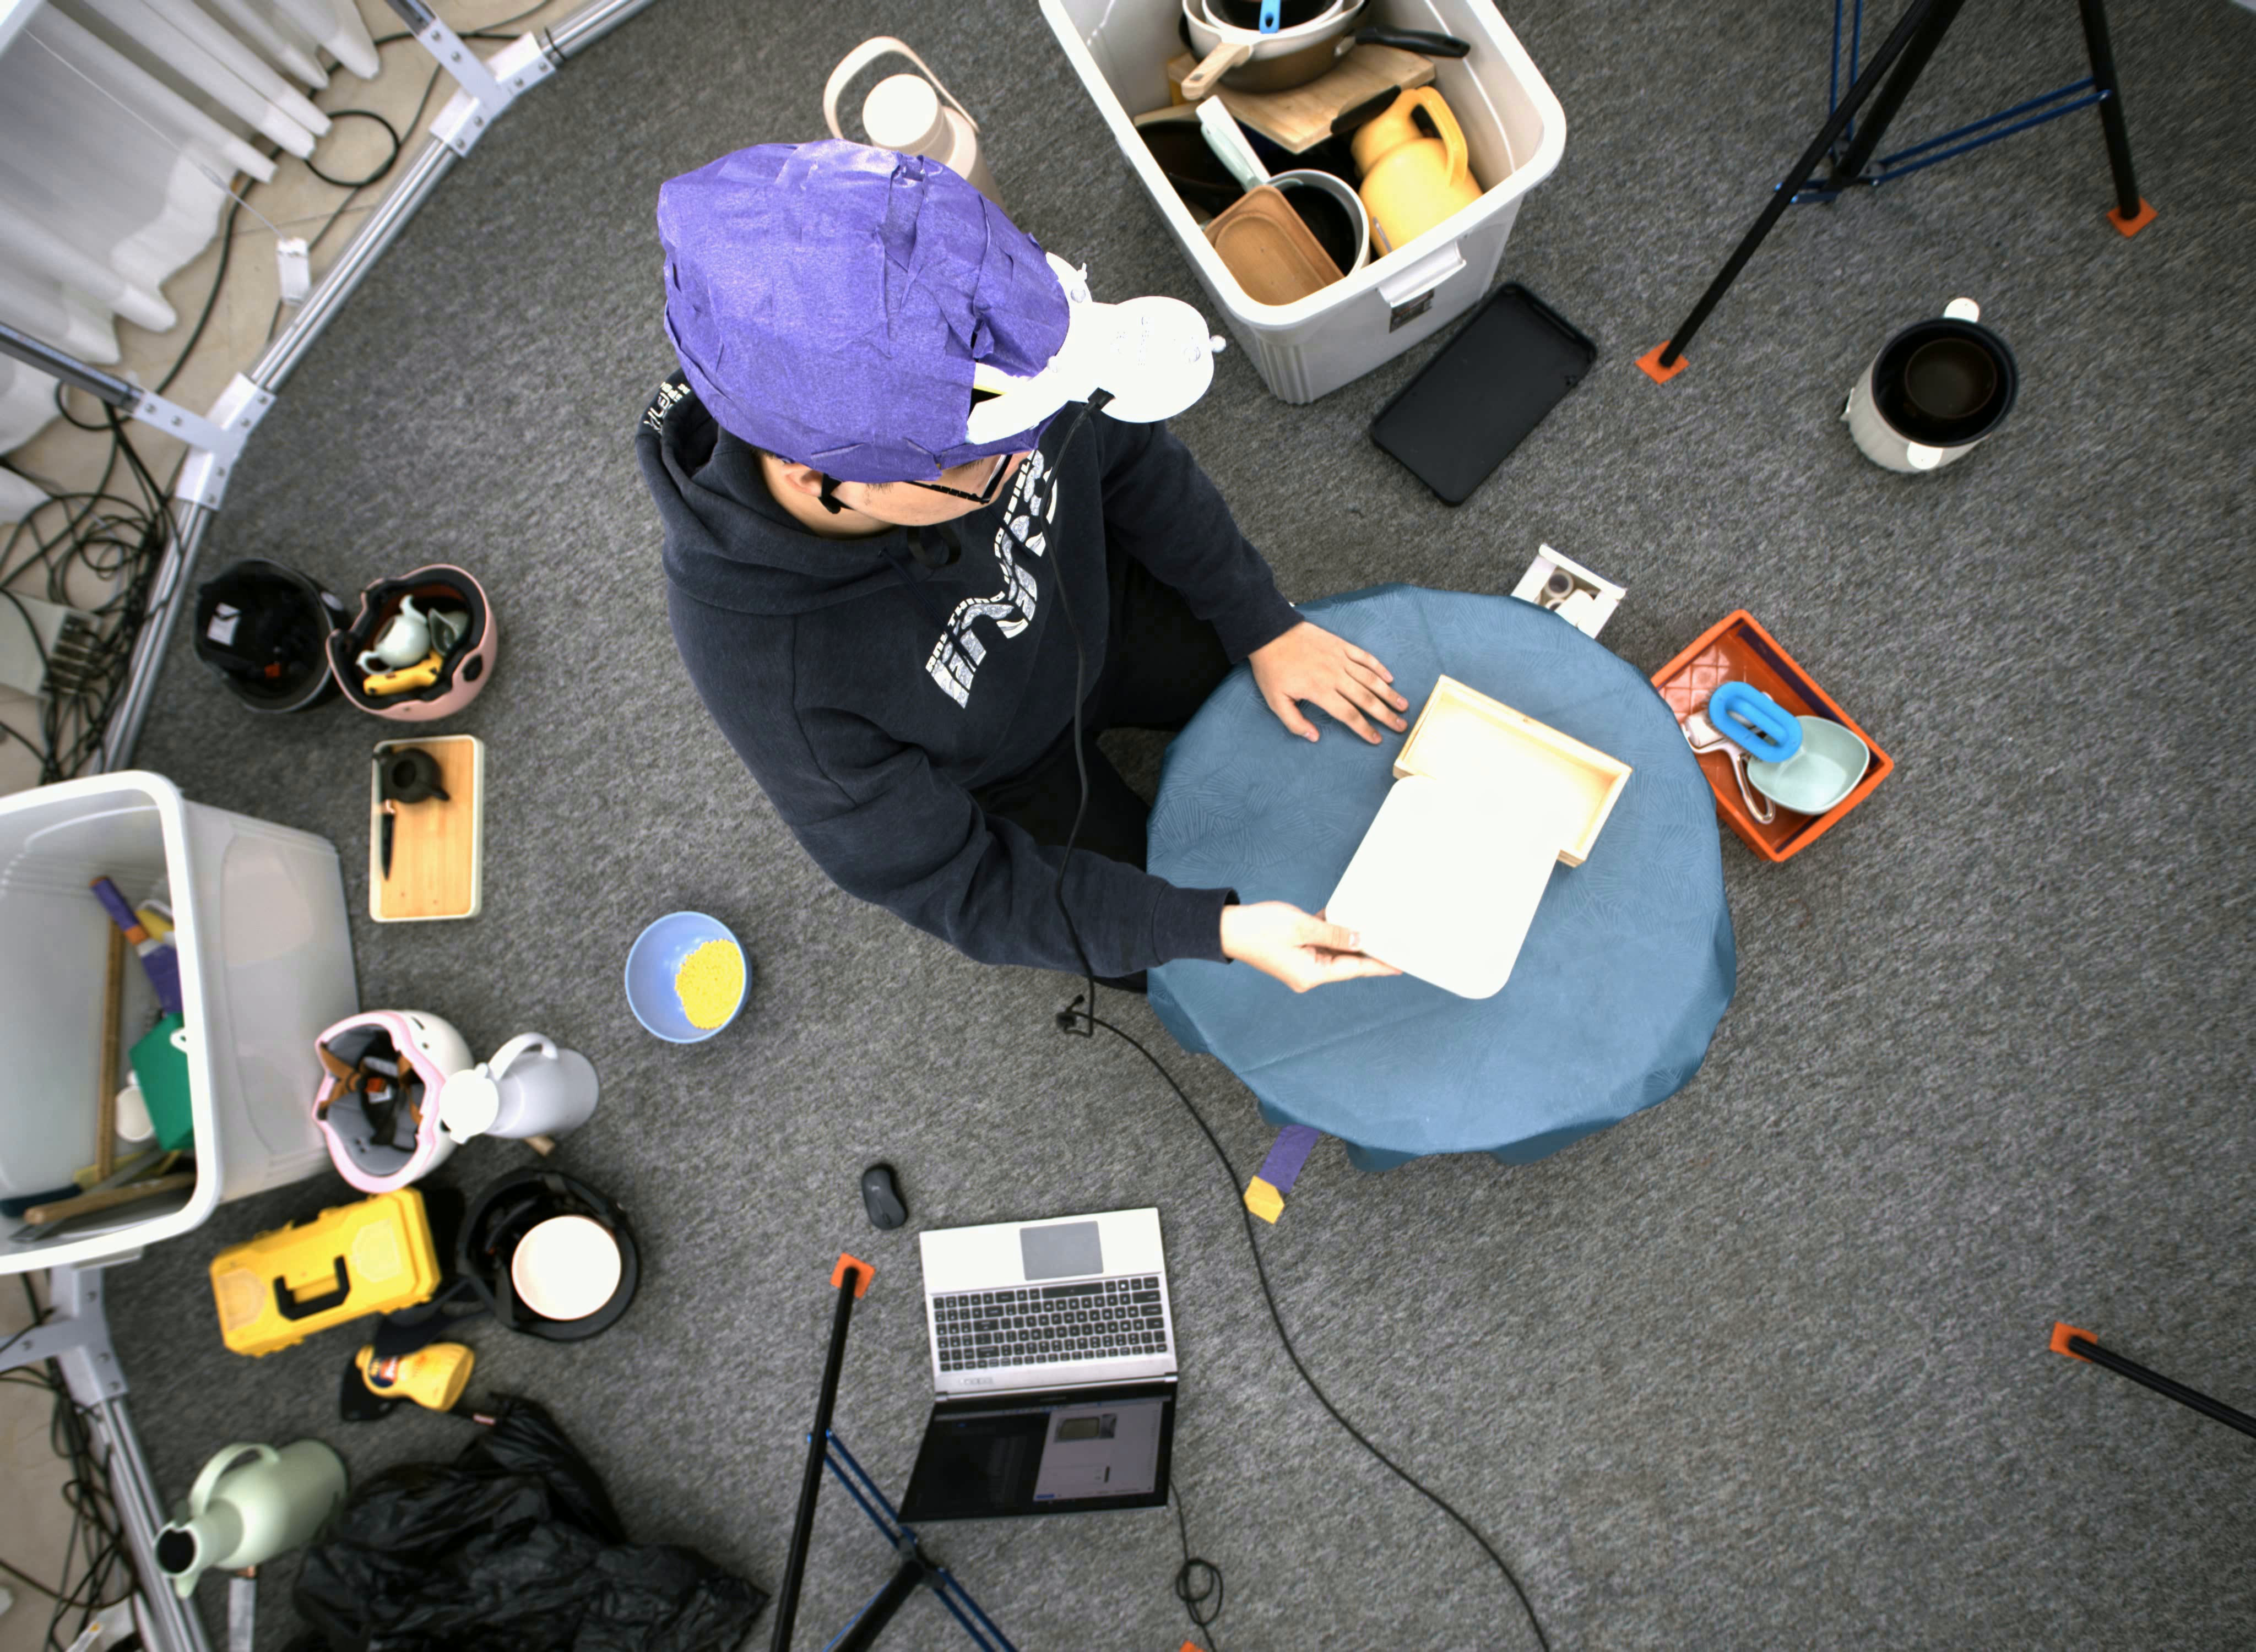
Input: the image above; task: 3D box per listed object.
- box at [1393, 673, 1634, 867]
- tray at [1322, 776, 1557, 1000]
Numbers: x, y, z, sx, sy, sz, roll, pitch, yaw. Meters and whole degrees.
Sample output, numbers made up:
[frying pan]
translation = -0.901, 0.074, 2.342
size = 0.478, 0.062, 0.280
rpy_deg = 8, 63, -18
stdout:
[box]
translation = 0.390, -0.058, 1.405
size = 0.211, 0.080, 0.107
rpy_deg = 27, 91, 12
[tray]
translation = 0.291, 0.052, 1.278
size = 0.171, 0.018, 0.234
rpy_deg = 23, 51, 16
